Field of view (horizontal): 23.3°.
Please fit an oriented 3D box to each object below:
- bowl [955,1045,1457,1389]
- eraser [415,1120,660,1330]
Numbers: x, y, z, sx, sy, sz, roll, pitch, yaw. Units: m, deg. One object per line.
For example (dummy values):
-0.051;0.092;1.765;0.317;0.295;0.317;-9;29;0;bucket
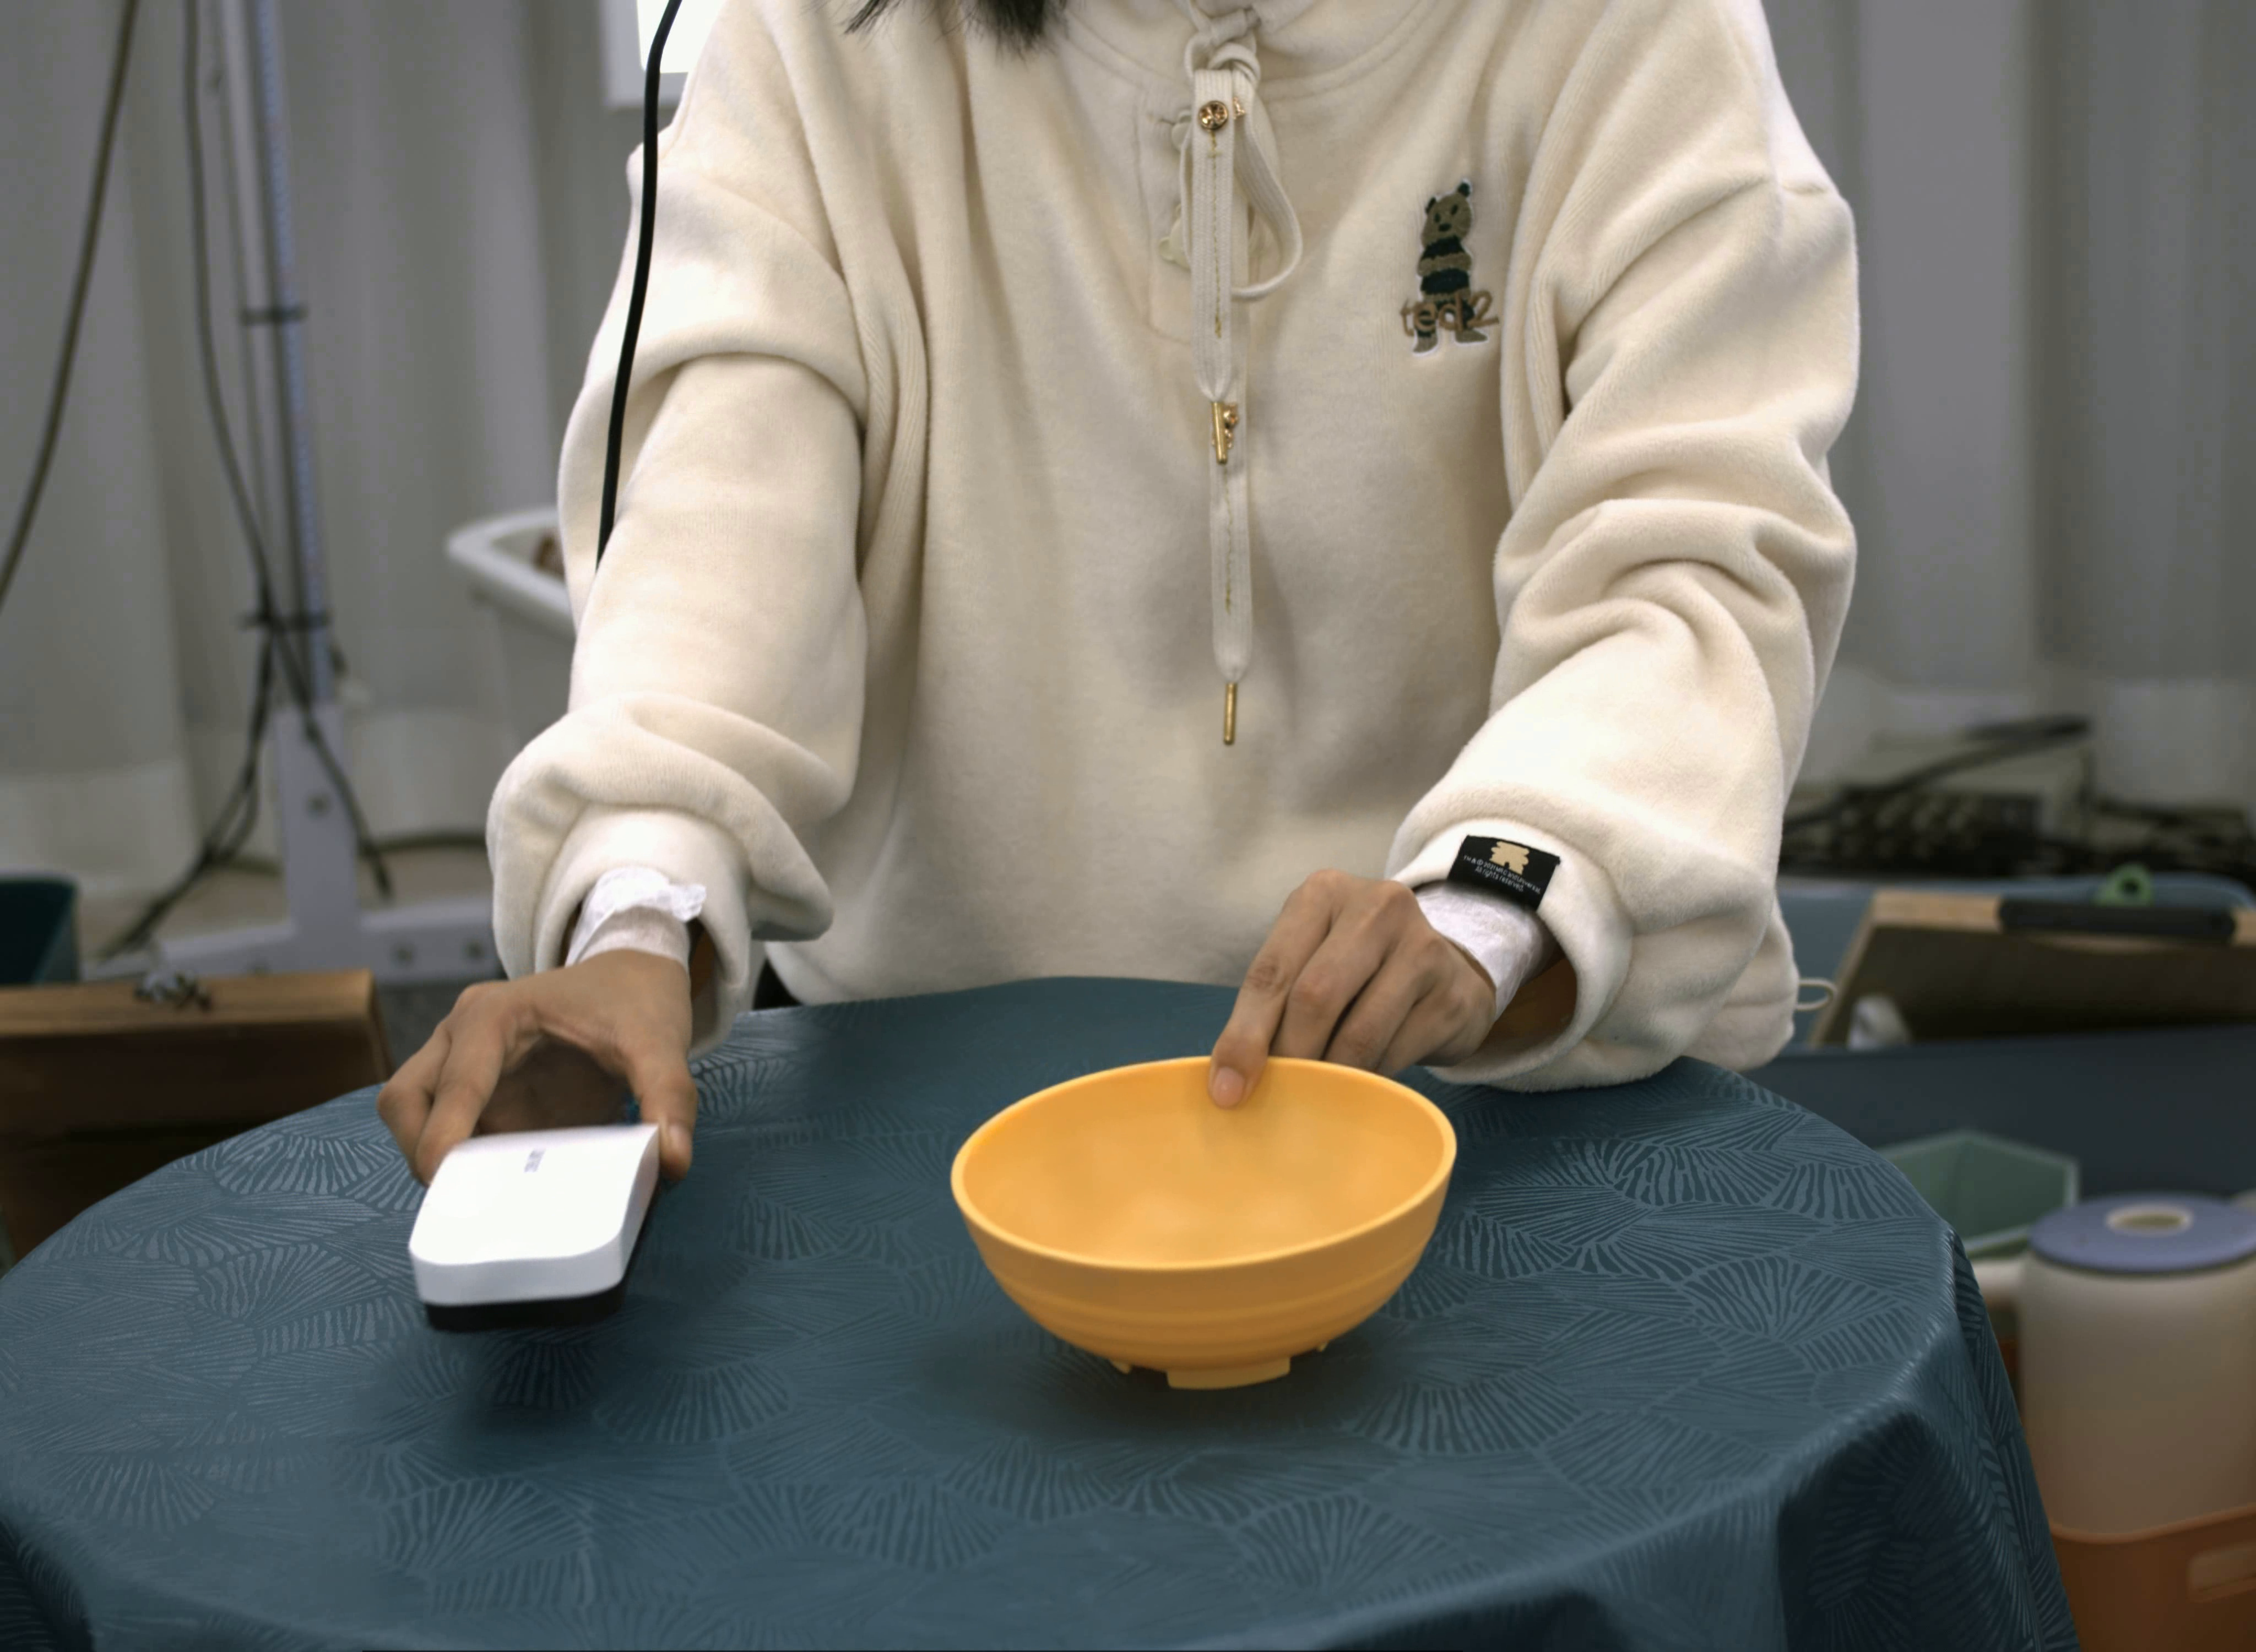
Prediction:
0.025;0.120;1.564;0.145;0.059;0.147;-4;23;2;bowl
-0.168;0.111;1.587;0.063;0.034;0.132;-4;13;2;eraser
